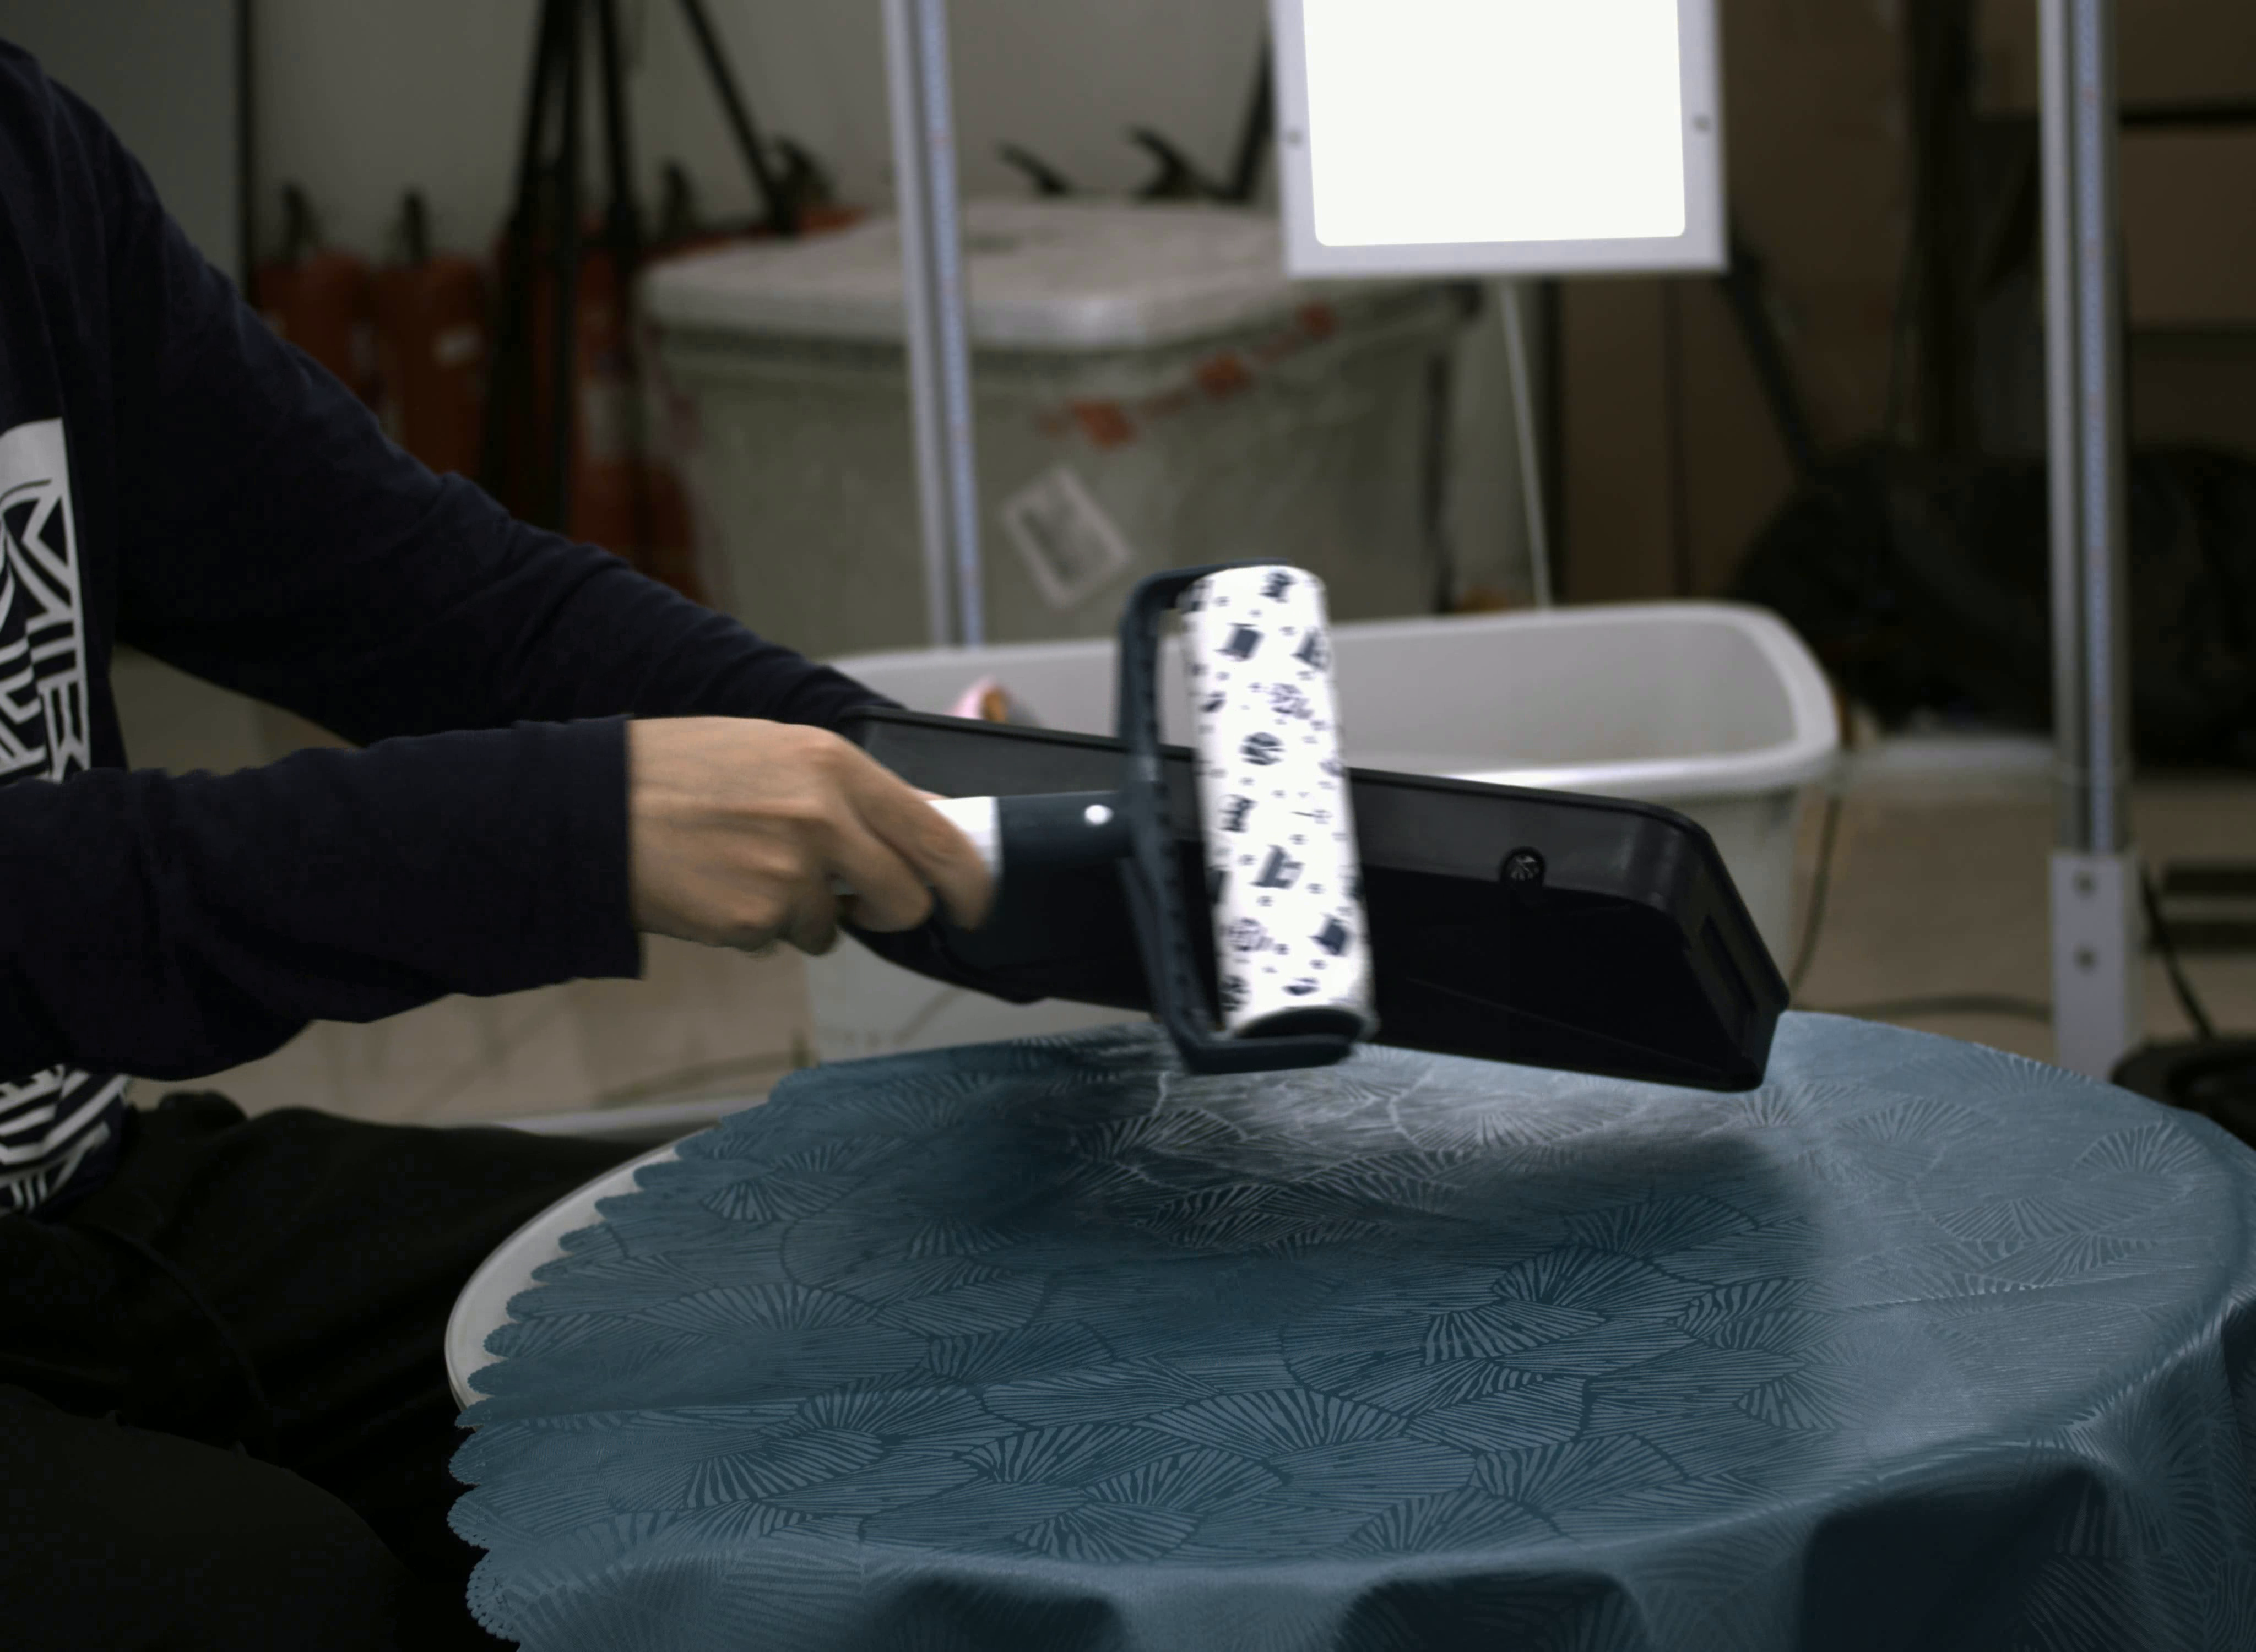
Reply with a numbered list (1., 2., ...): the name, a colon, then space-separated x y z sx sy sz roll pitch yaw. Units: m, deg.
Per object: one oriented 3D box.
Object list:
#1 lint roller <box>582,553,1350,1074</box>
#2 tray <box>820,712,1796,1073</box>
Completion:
1. lint roller: -0.057 0.005 1.802 0.246 0.176 0.050 -6 -23 0
2. tray: 0.062 0.024 1.913 0.322 0.037 0.182 5 -22 23
